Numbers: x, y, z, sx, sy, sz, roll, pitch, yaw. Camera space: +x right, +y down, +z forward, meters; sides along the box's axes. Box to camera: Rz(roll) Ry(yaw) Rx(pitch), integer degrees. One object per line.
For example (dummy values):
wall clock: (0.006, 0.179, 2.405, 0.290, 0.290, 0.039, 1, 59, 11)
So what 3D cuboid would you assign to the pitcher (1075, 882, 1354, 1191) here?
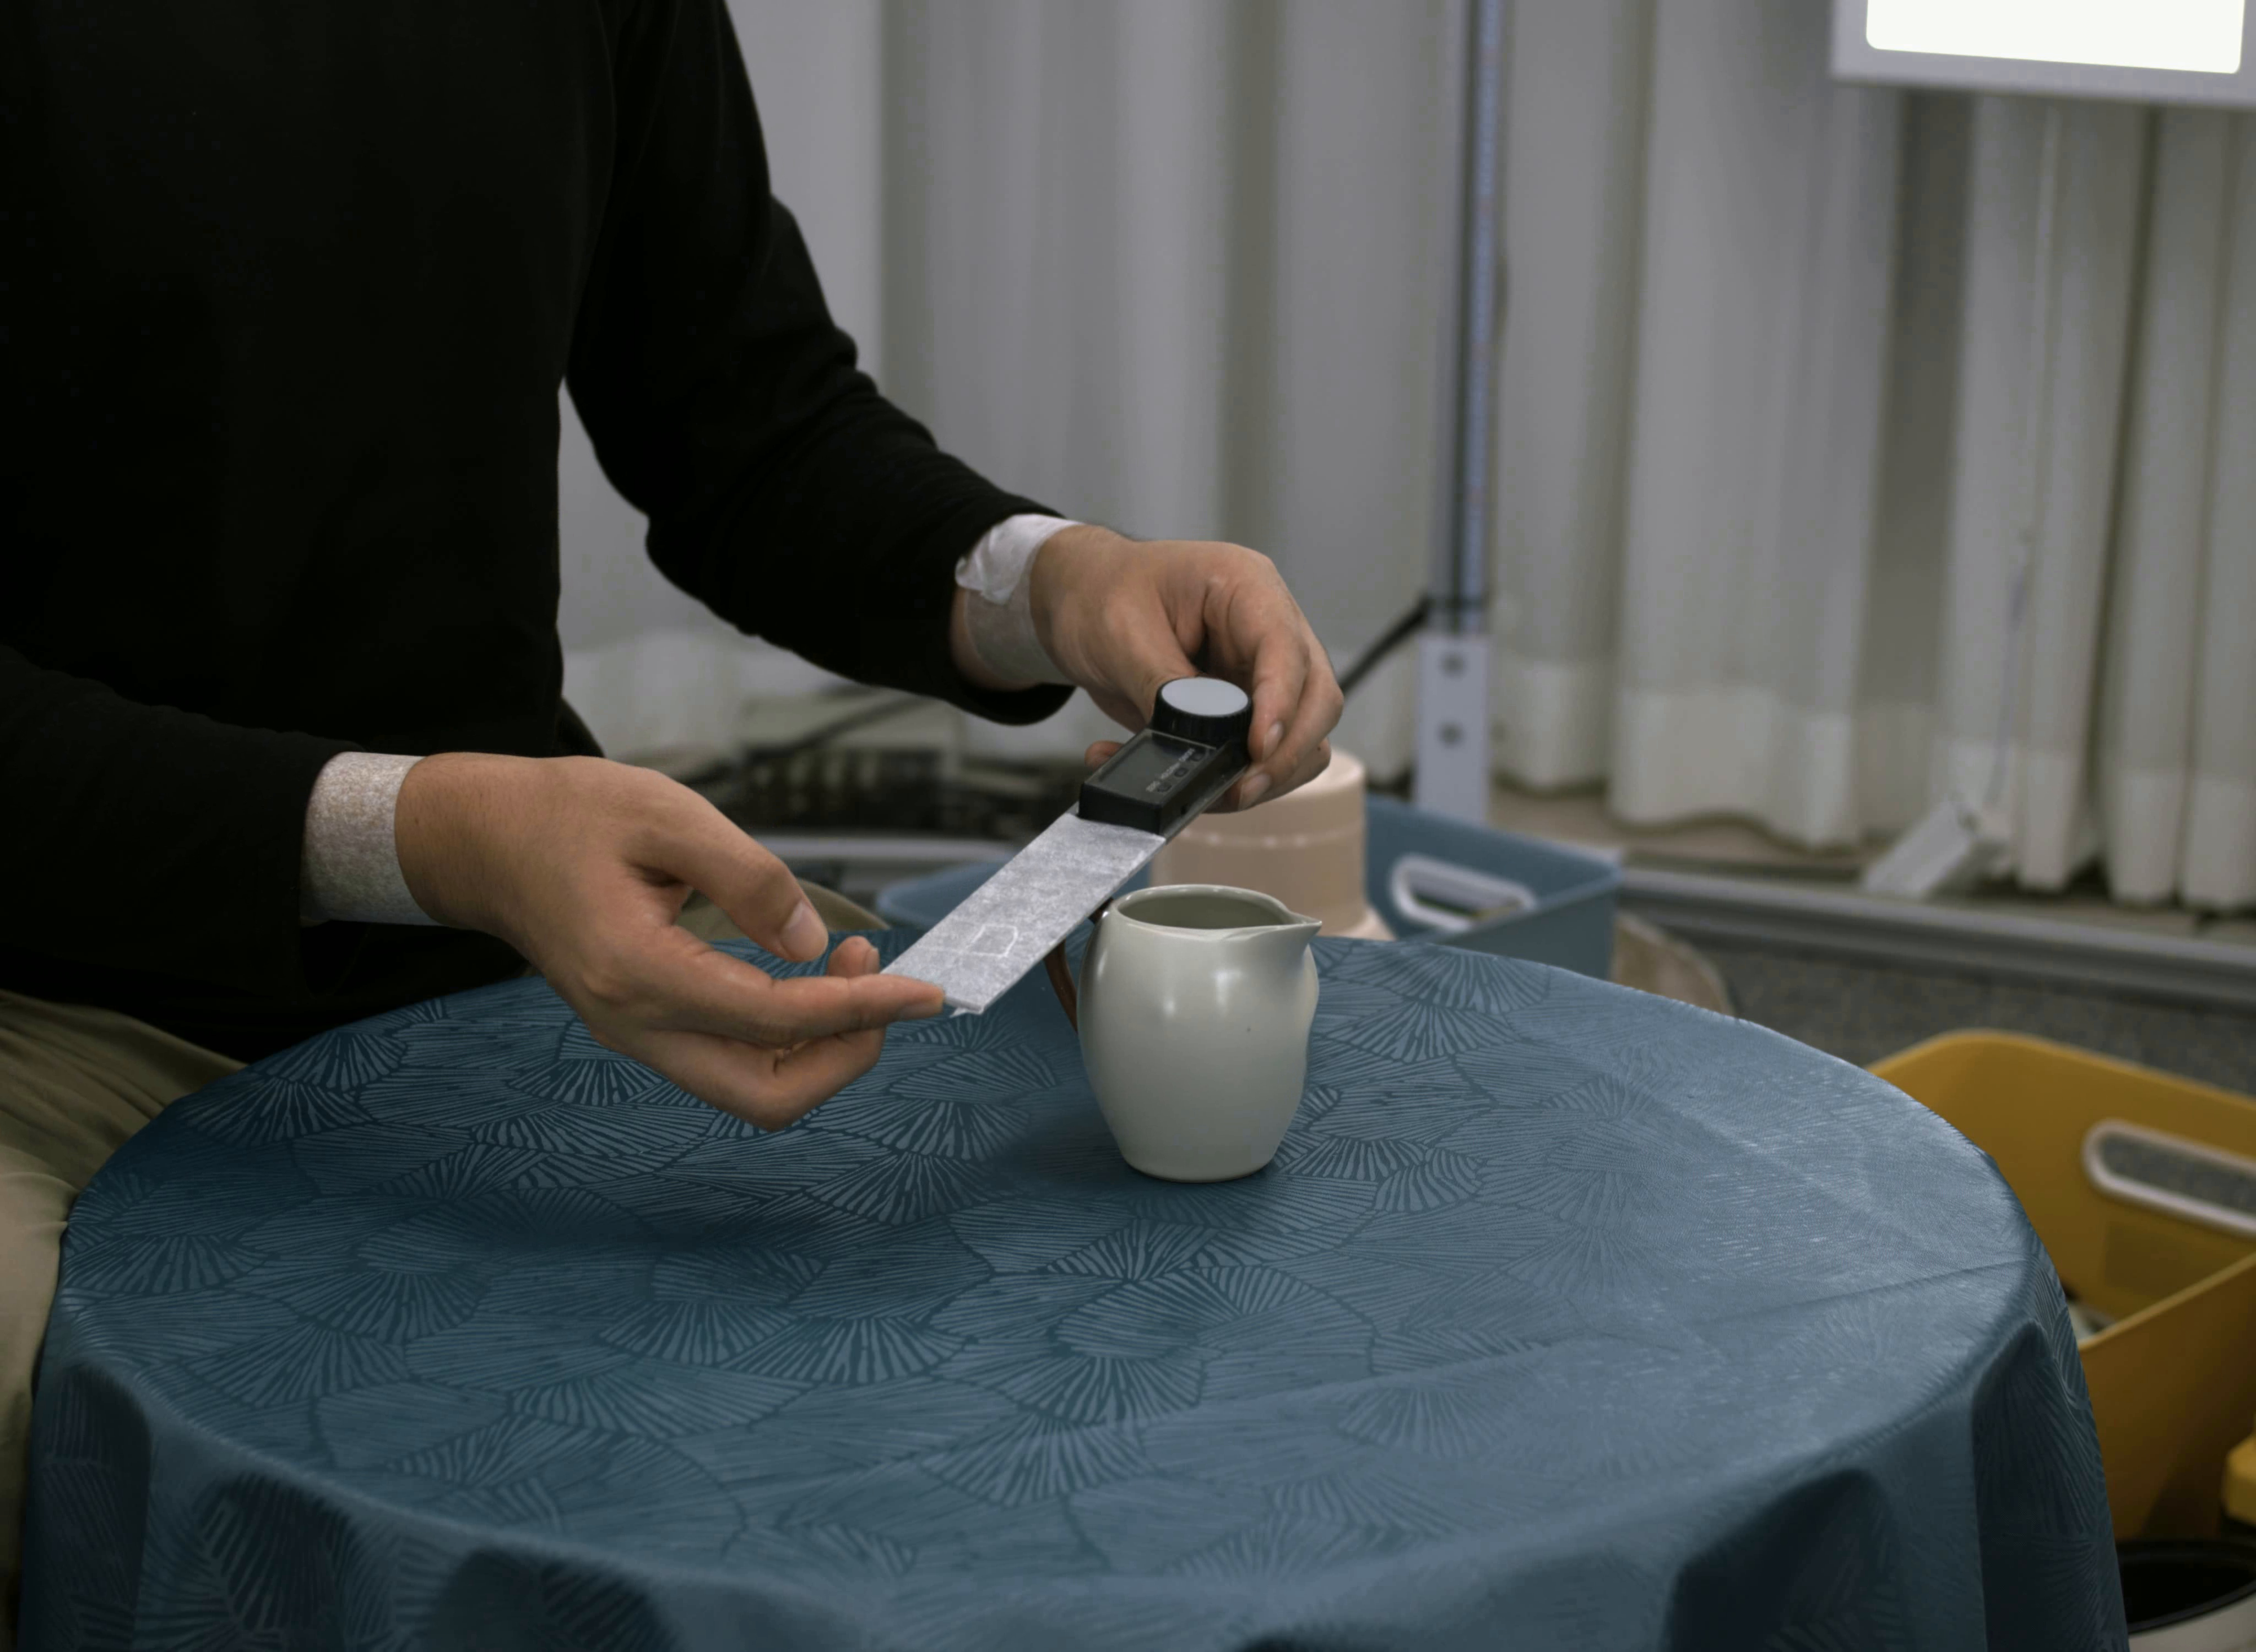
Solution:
pitcher: (0.024, 0.063, 1.636, 0.076, 0.088, 0.117, -10, 19, -43)

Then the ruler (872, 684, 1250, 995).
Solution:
ruler: (-0.015, 0.001, 1.640, 0.038, 0.024, 0.218, 9, 24, 23)
